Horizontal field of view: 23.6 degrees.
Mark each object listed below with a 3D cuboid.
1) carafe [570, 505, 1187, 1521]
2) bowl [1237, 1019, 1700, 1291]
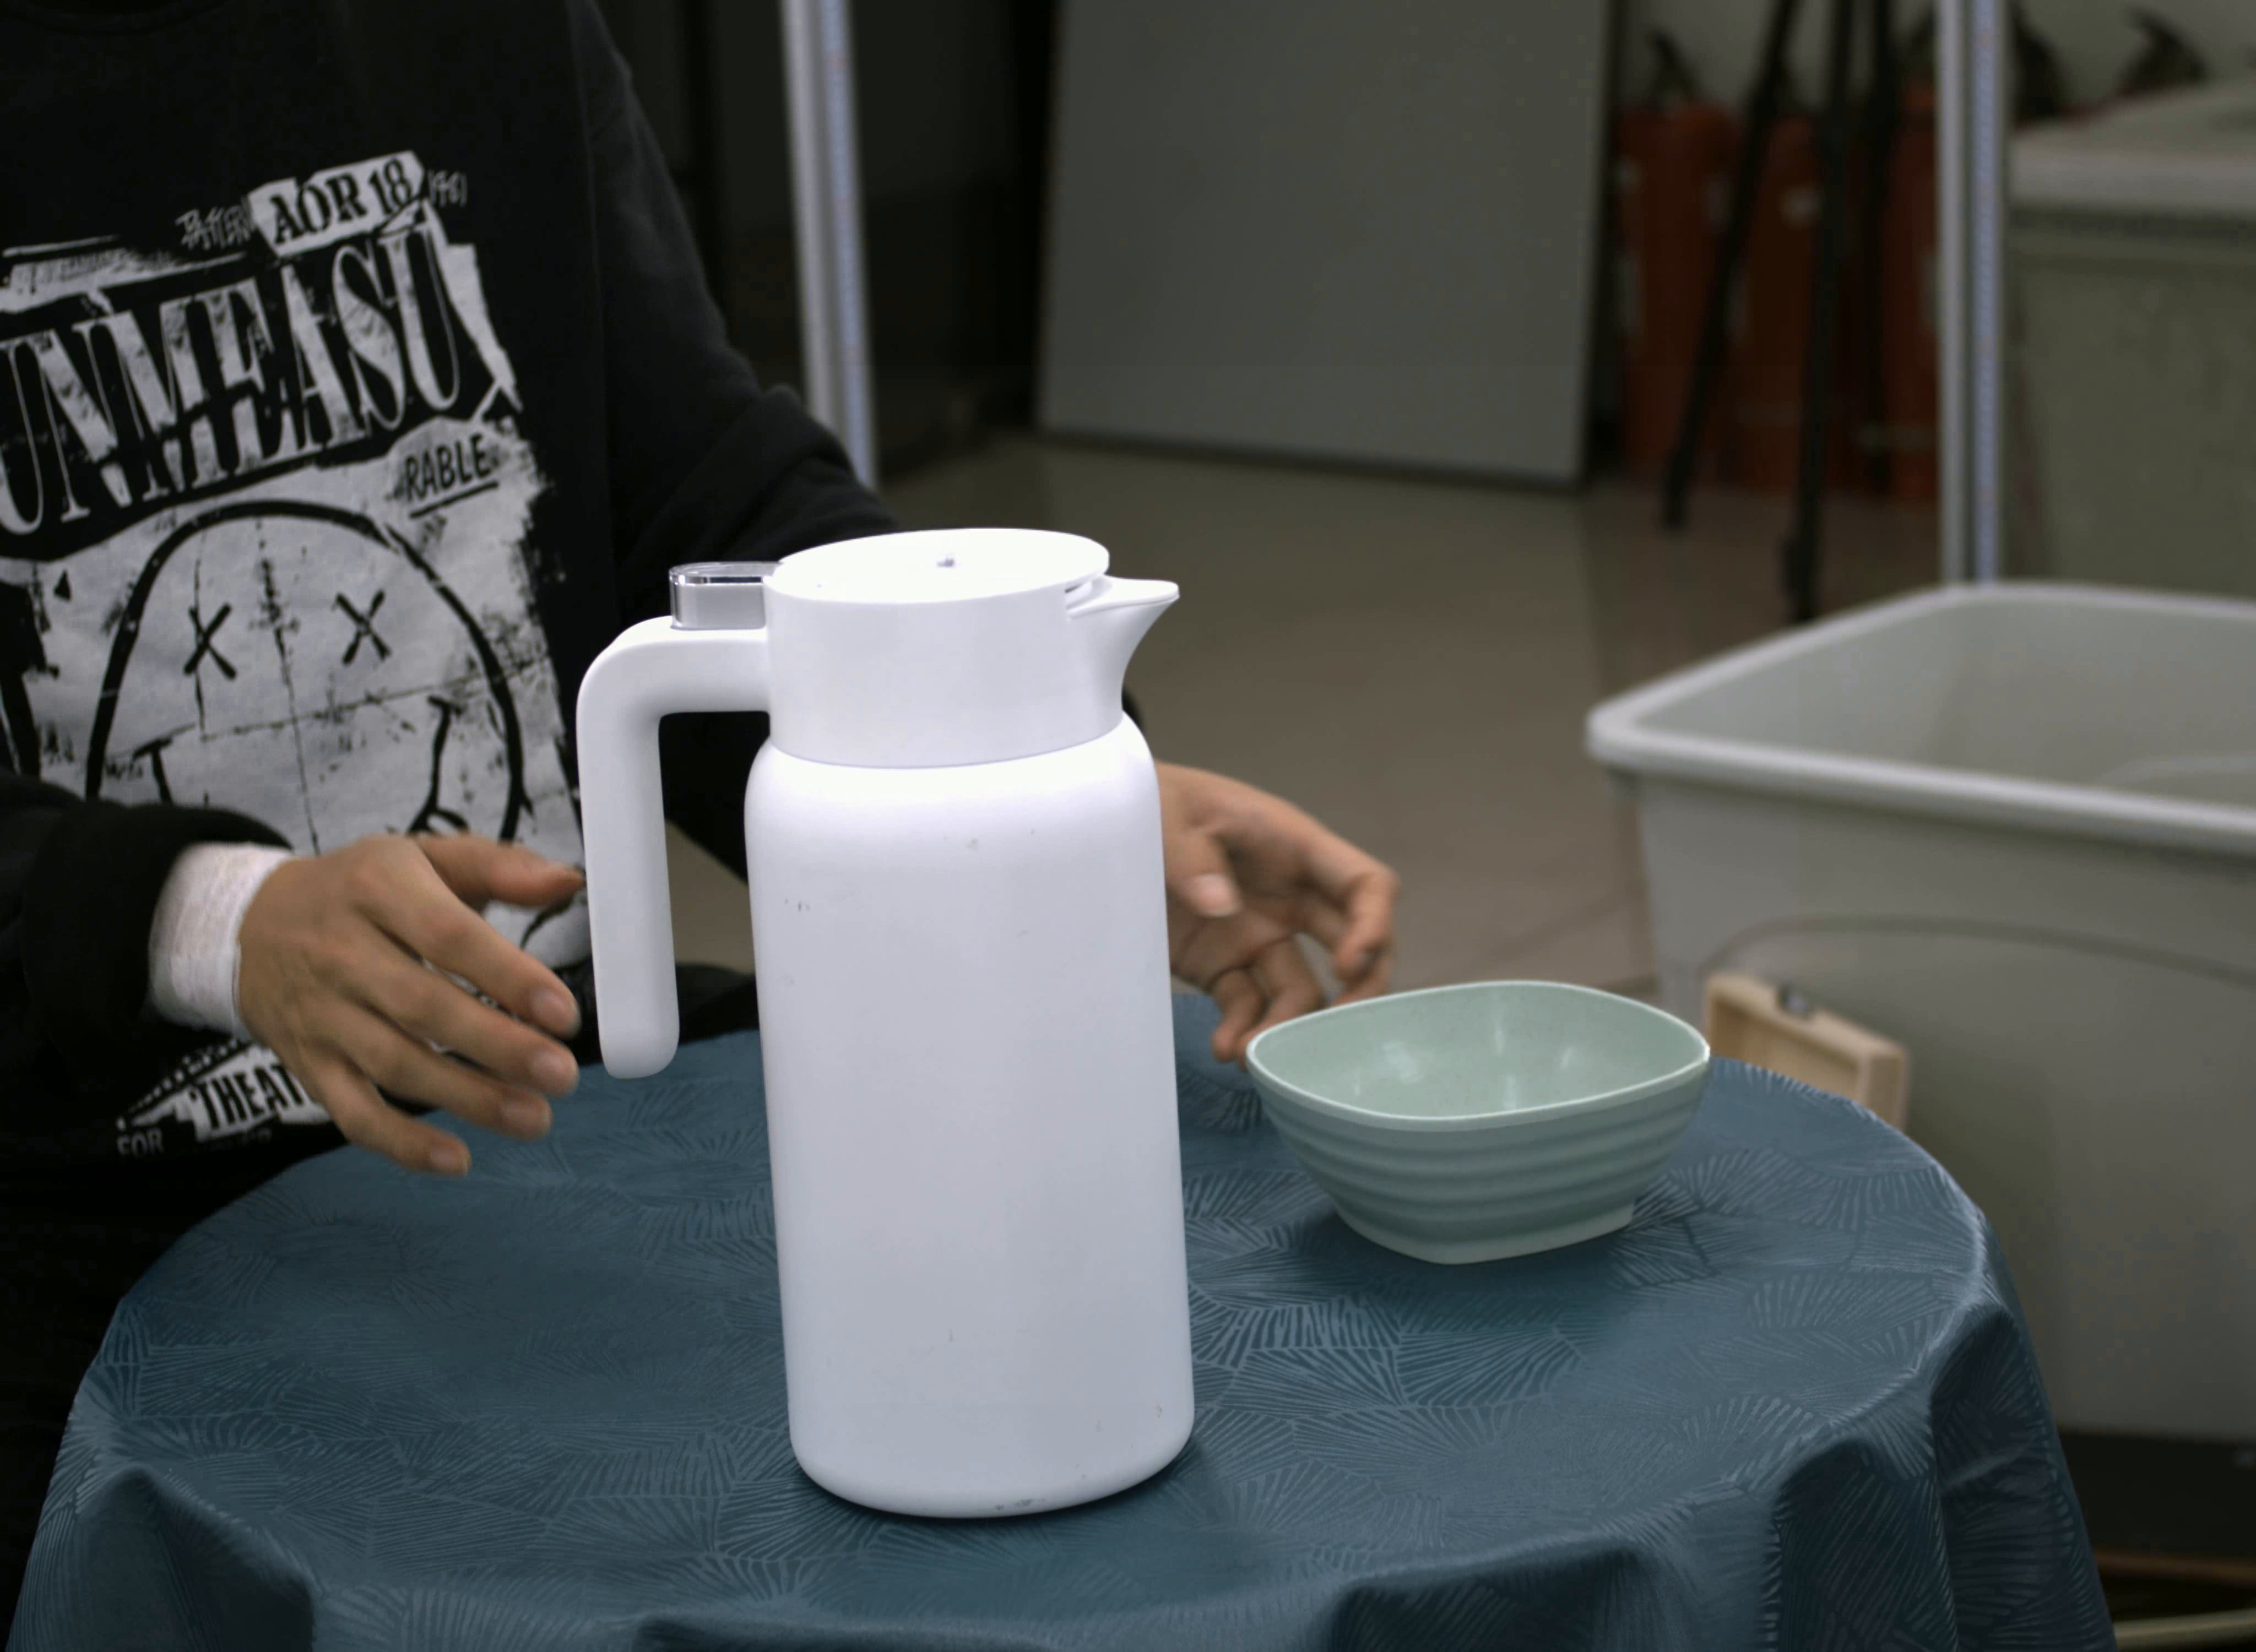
[{"bbox_3d":[-0.065,0.052,1.515,0.171,0.272,0.123,-2,15,9],"label":"carafe"},{"bbox_3d":[0.111,0.107,1.713,0.149,0.059,0.151,-9,9,0],"label":"bowl"}]
